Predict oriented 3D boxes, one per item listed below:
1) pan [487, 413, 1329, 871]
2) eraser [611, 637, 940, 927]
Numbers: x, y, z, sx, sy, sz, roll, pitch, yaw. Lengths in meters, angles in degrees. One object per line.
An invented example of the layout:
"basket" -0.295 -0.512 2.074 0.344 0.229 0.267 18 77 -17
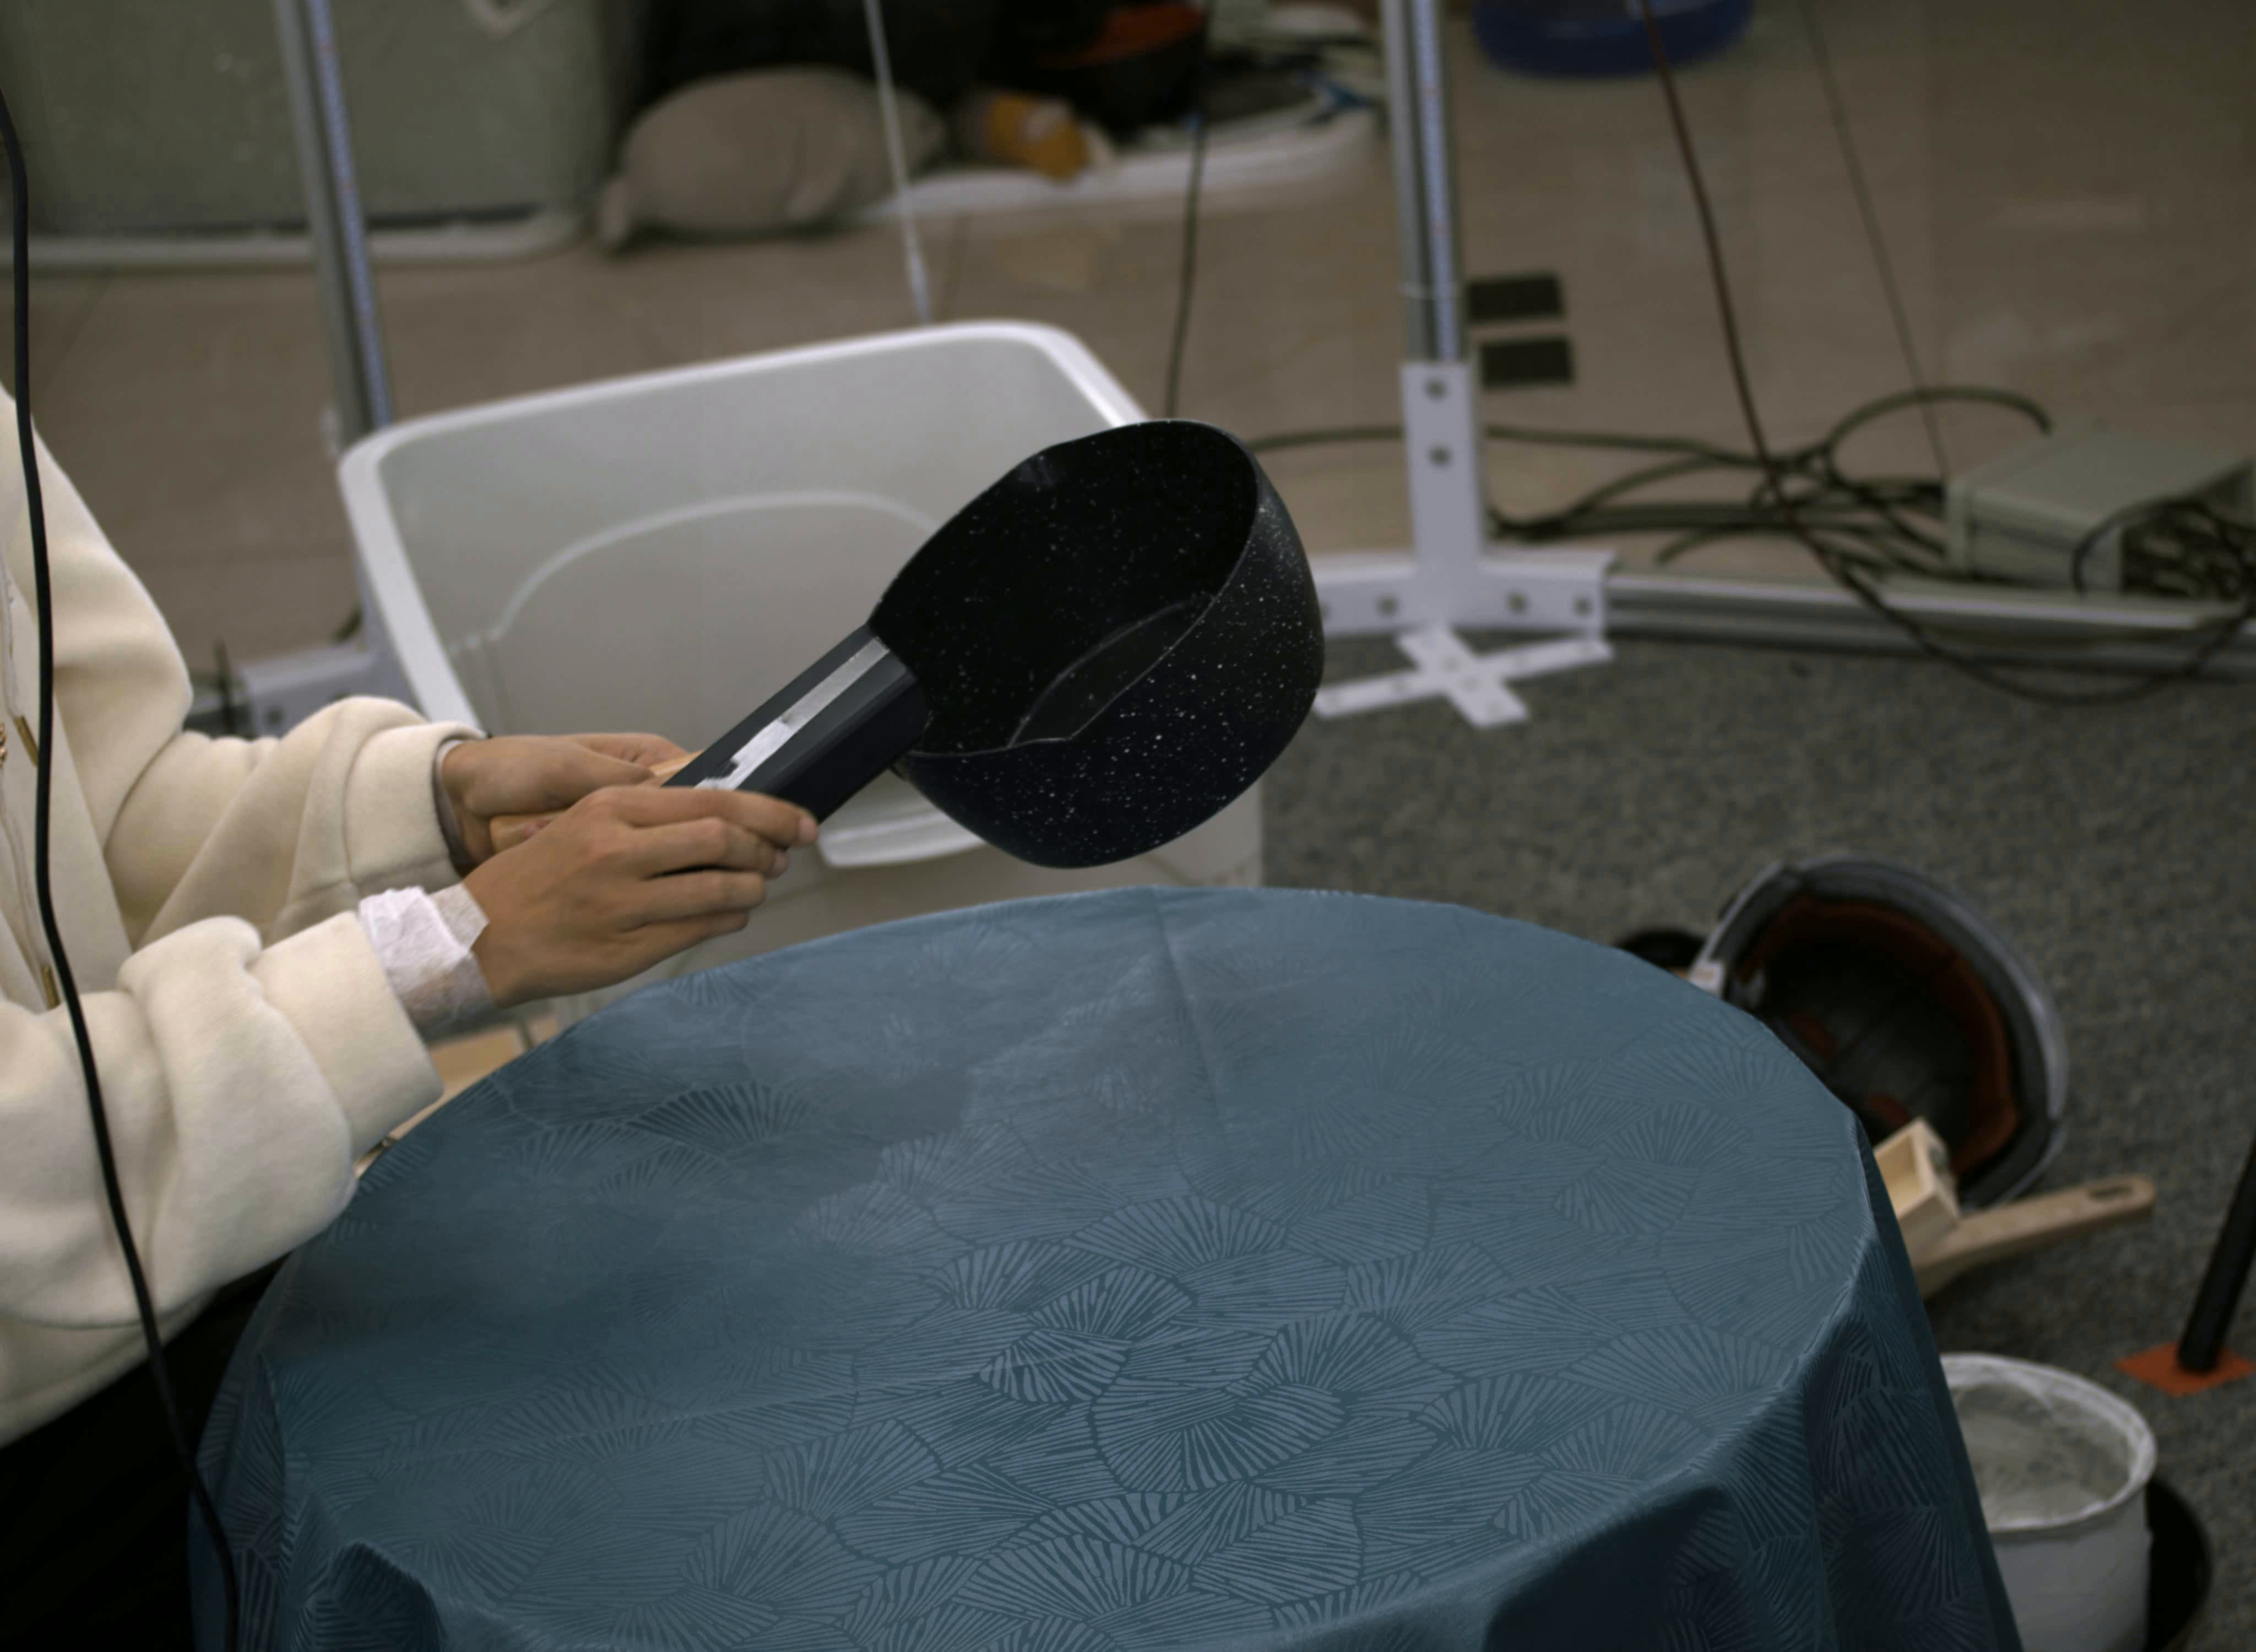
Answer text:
"pan" -0.081 -0.037 2.212 0.343 0.110 0.204 -27 35 12
"eraser" -0.132 -0.018 2.120 0.125 0.031 0.053 -39 36 -6
